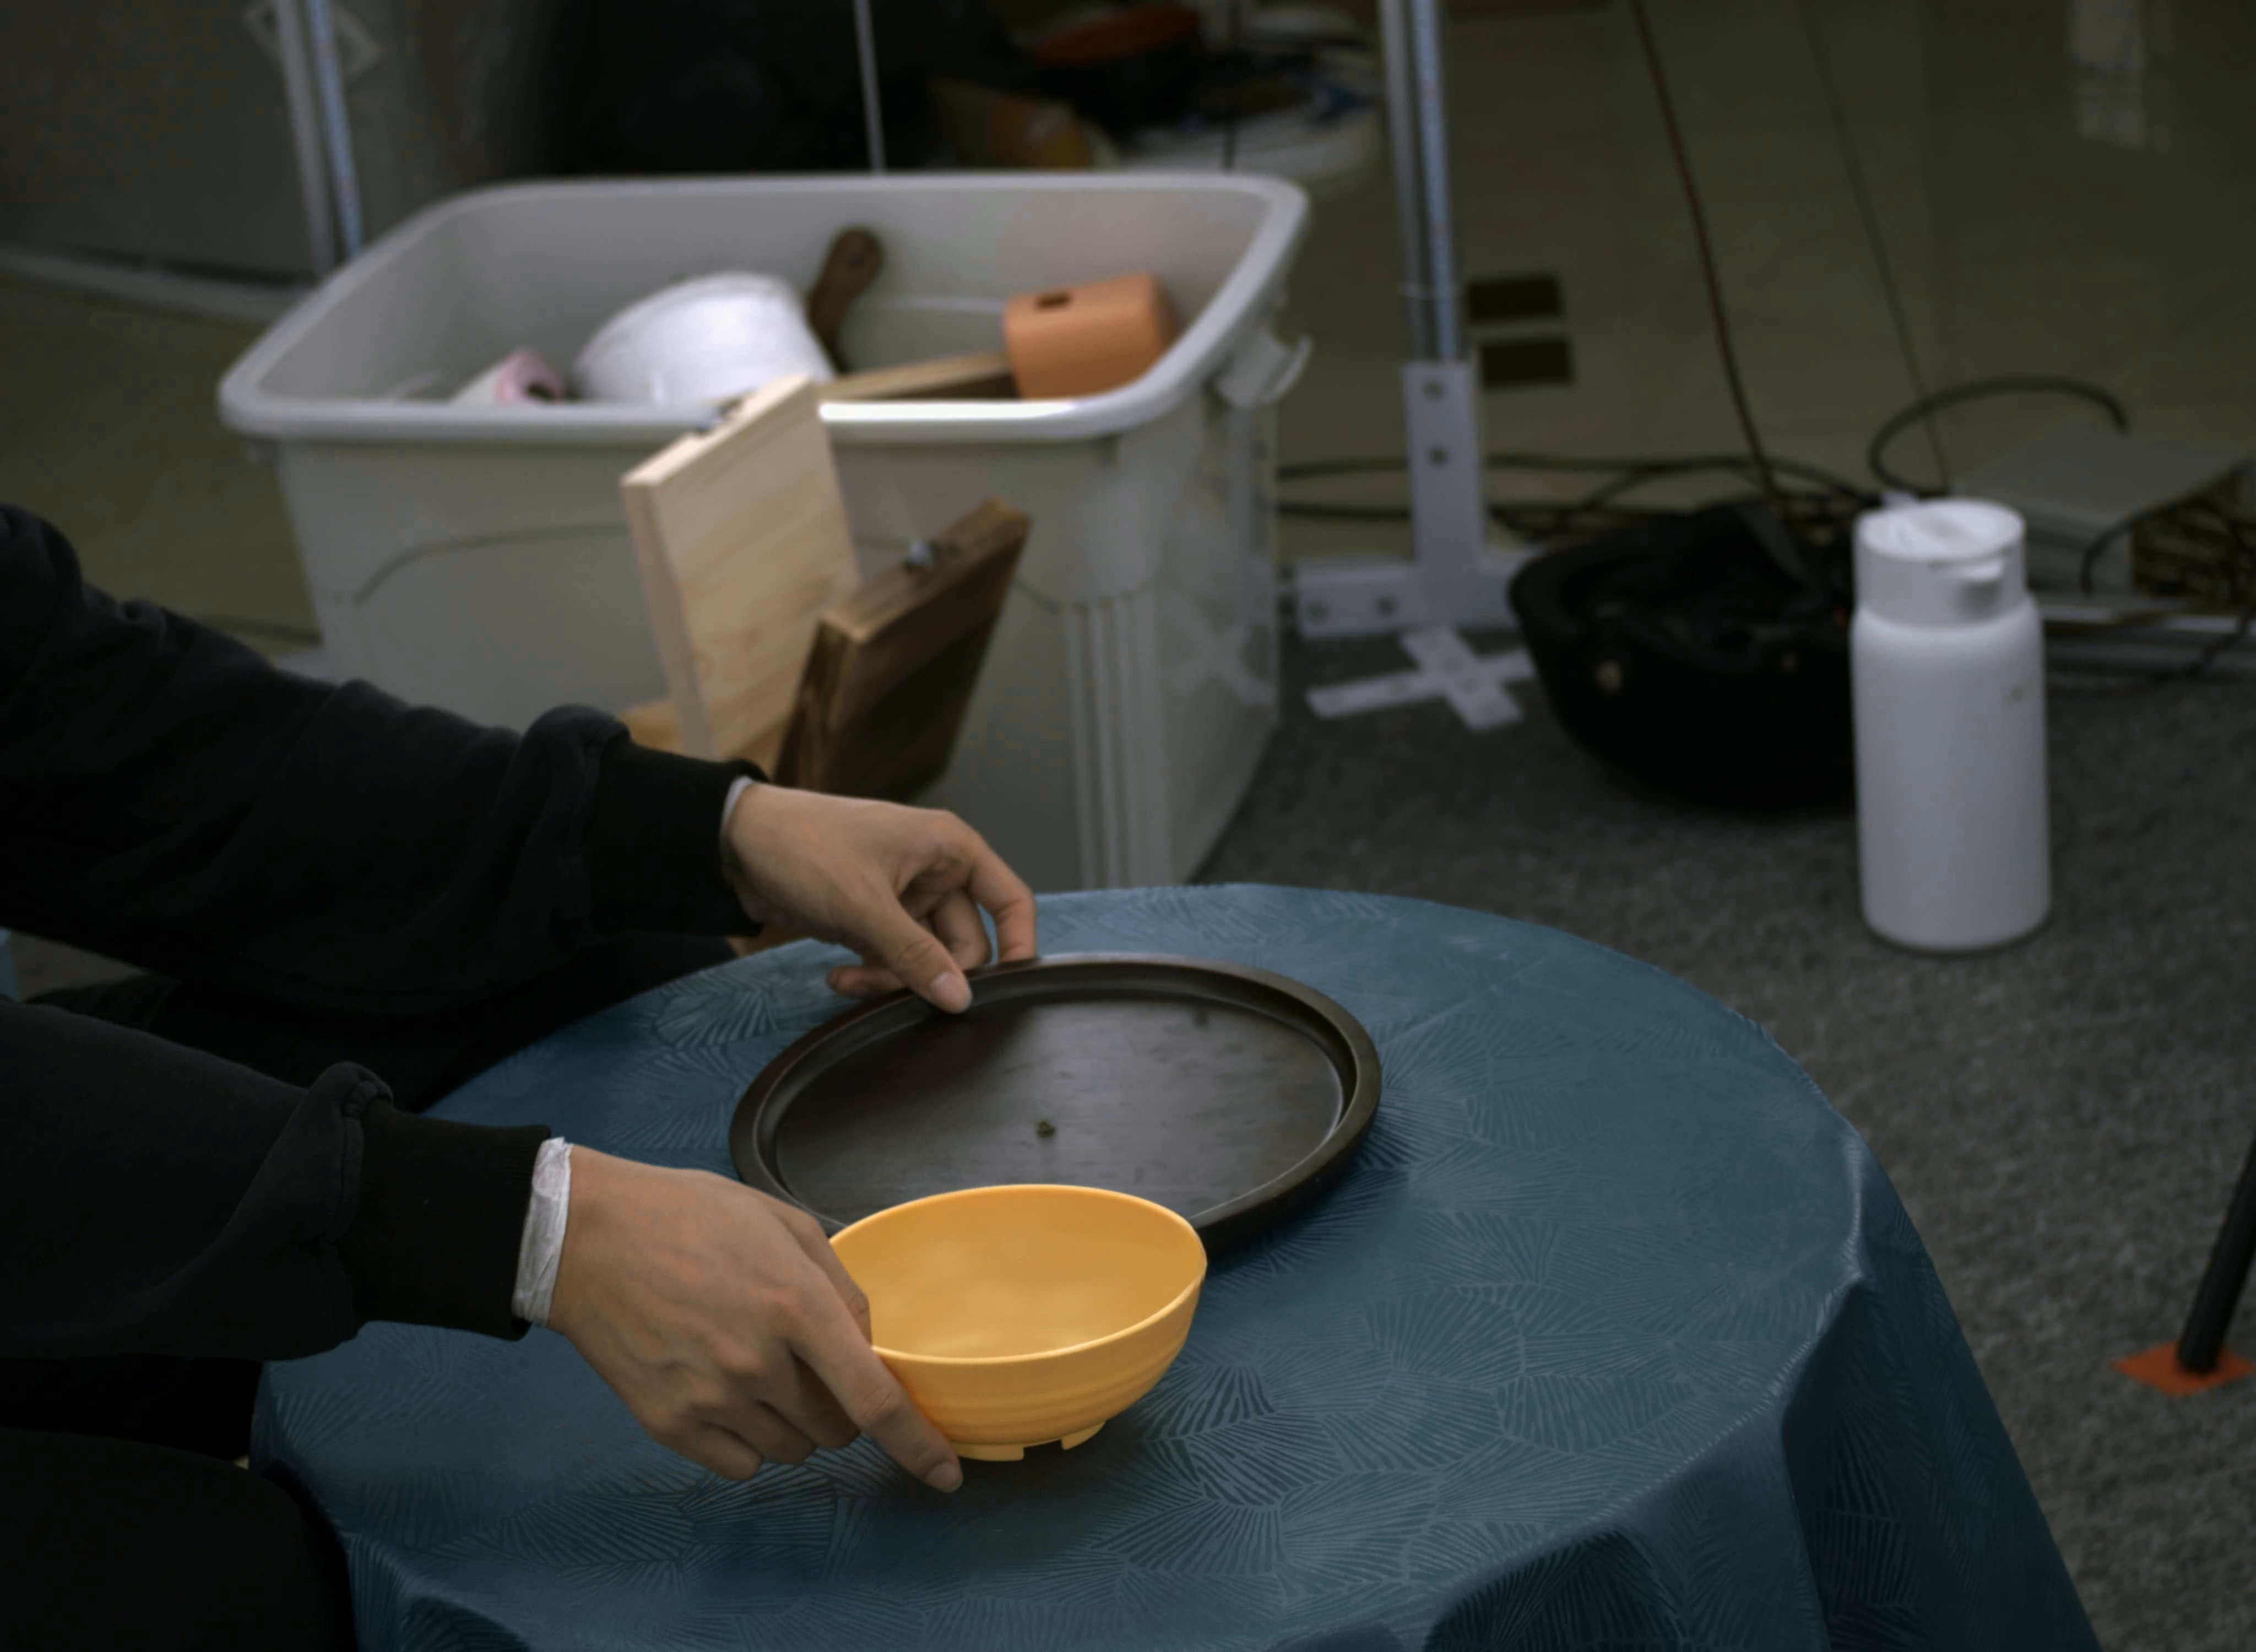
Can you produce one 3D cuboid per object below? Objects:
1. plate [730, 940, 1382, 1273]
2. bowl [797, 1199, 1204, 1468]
[{"bbox_3d":[-0.027,0.114,2.186,0.254,0.029,0.251,-6,26,3],"label":"plate"},{"bbox_3d":[-0.041,0.185,1.993,0.145,0.061,0.143,-6,19,2],"label":"bowl"}]
